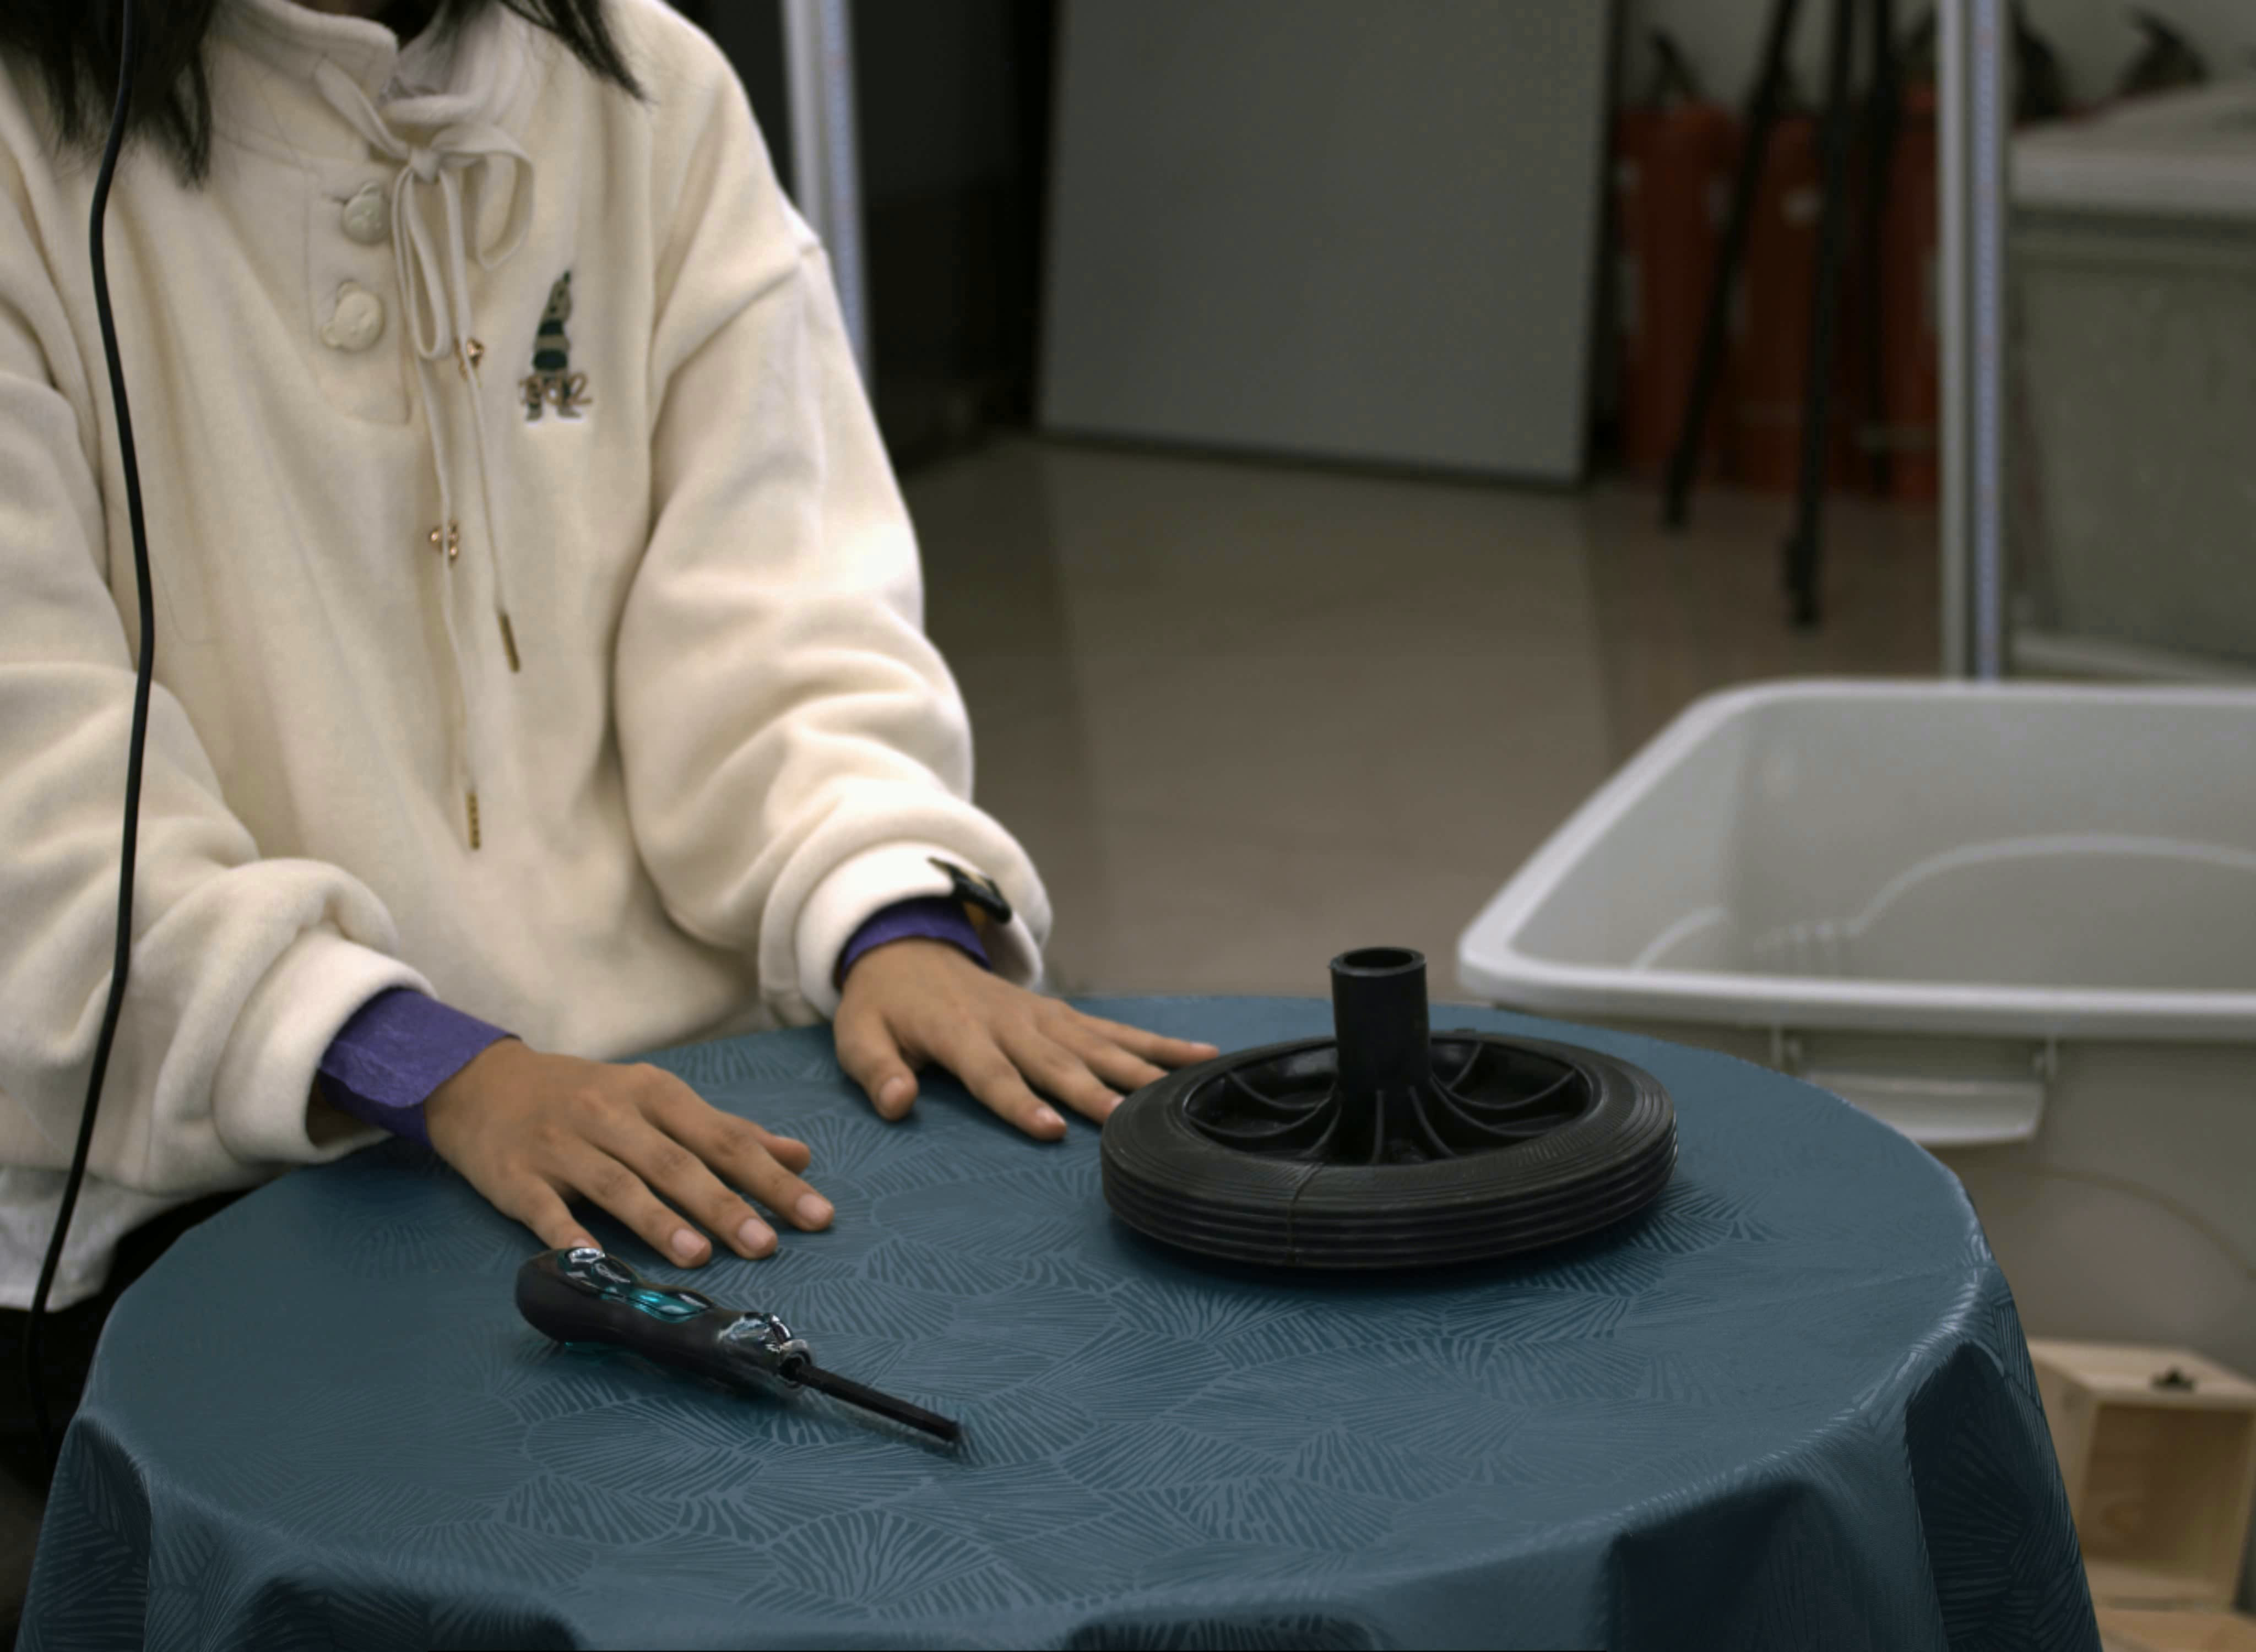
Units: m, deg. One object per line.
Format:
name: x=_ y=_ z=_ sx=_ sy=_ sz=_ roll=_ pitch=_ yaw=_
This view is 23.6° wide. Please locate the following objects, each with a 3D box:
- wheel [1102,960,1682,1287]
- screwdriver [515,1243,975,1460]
wheel: x=0.084 y=0.086 z=1.731 sx=0.183 sy=0.080 sz=0.192 roll=-12 pitch=18 yaw=-30
screwdriver: x=-0.113 y=0.160 z=1.602 sx=0.192 sy=0.034 sz=0.033 roll=16 pitch=23 yaw=42
